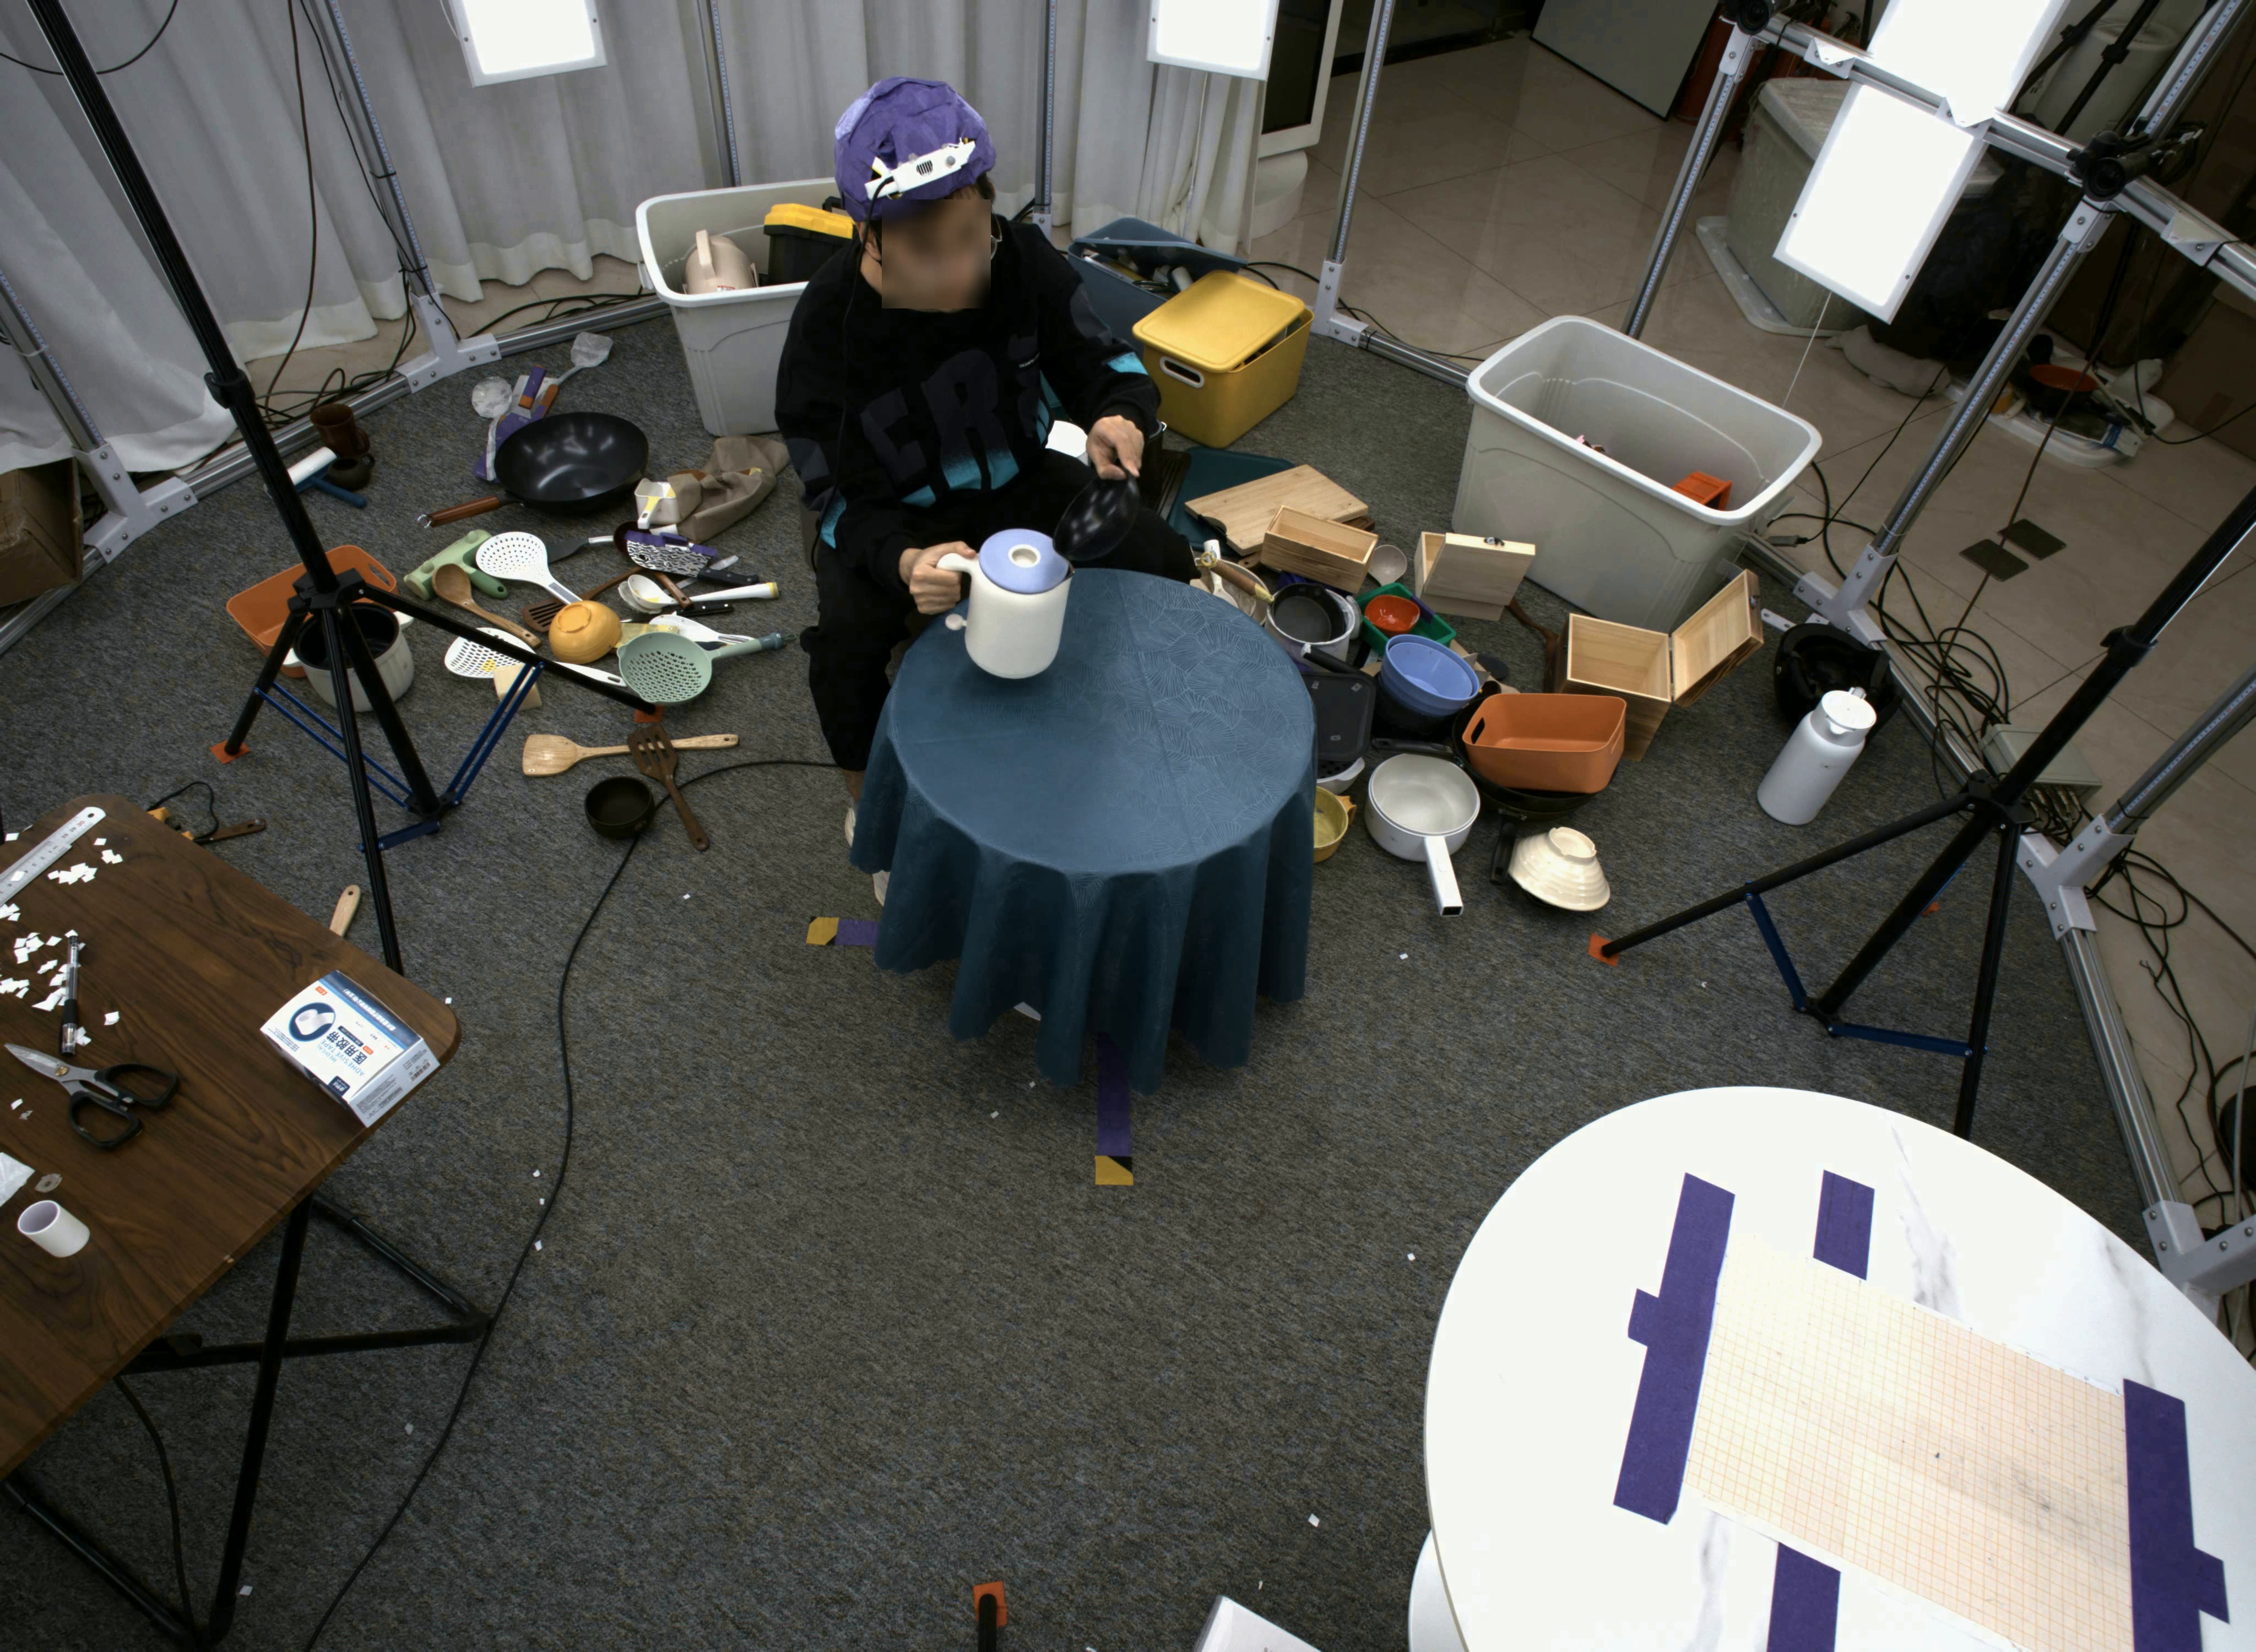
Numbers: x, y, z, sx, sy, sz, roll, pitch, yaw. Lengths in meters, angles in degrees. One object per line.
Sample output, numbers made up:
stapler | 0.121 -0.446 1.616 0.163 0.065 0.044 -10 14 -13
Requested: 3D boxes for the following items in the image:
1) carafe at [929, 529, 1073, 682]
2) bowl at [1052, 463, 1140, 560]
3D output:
carafe | -0.174 -0.300 1.746 0.191 0.178 0.135 6 50 -2
bowl | -0.031 -0.388 1.630 0.049 0.139 0.143 37 42 -29
